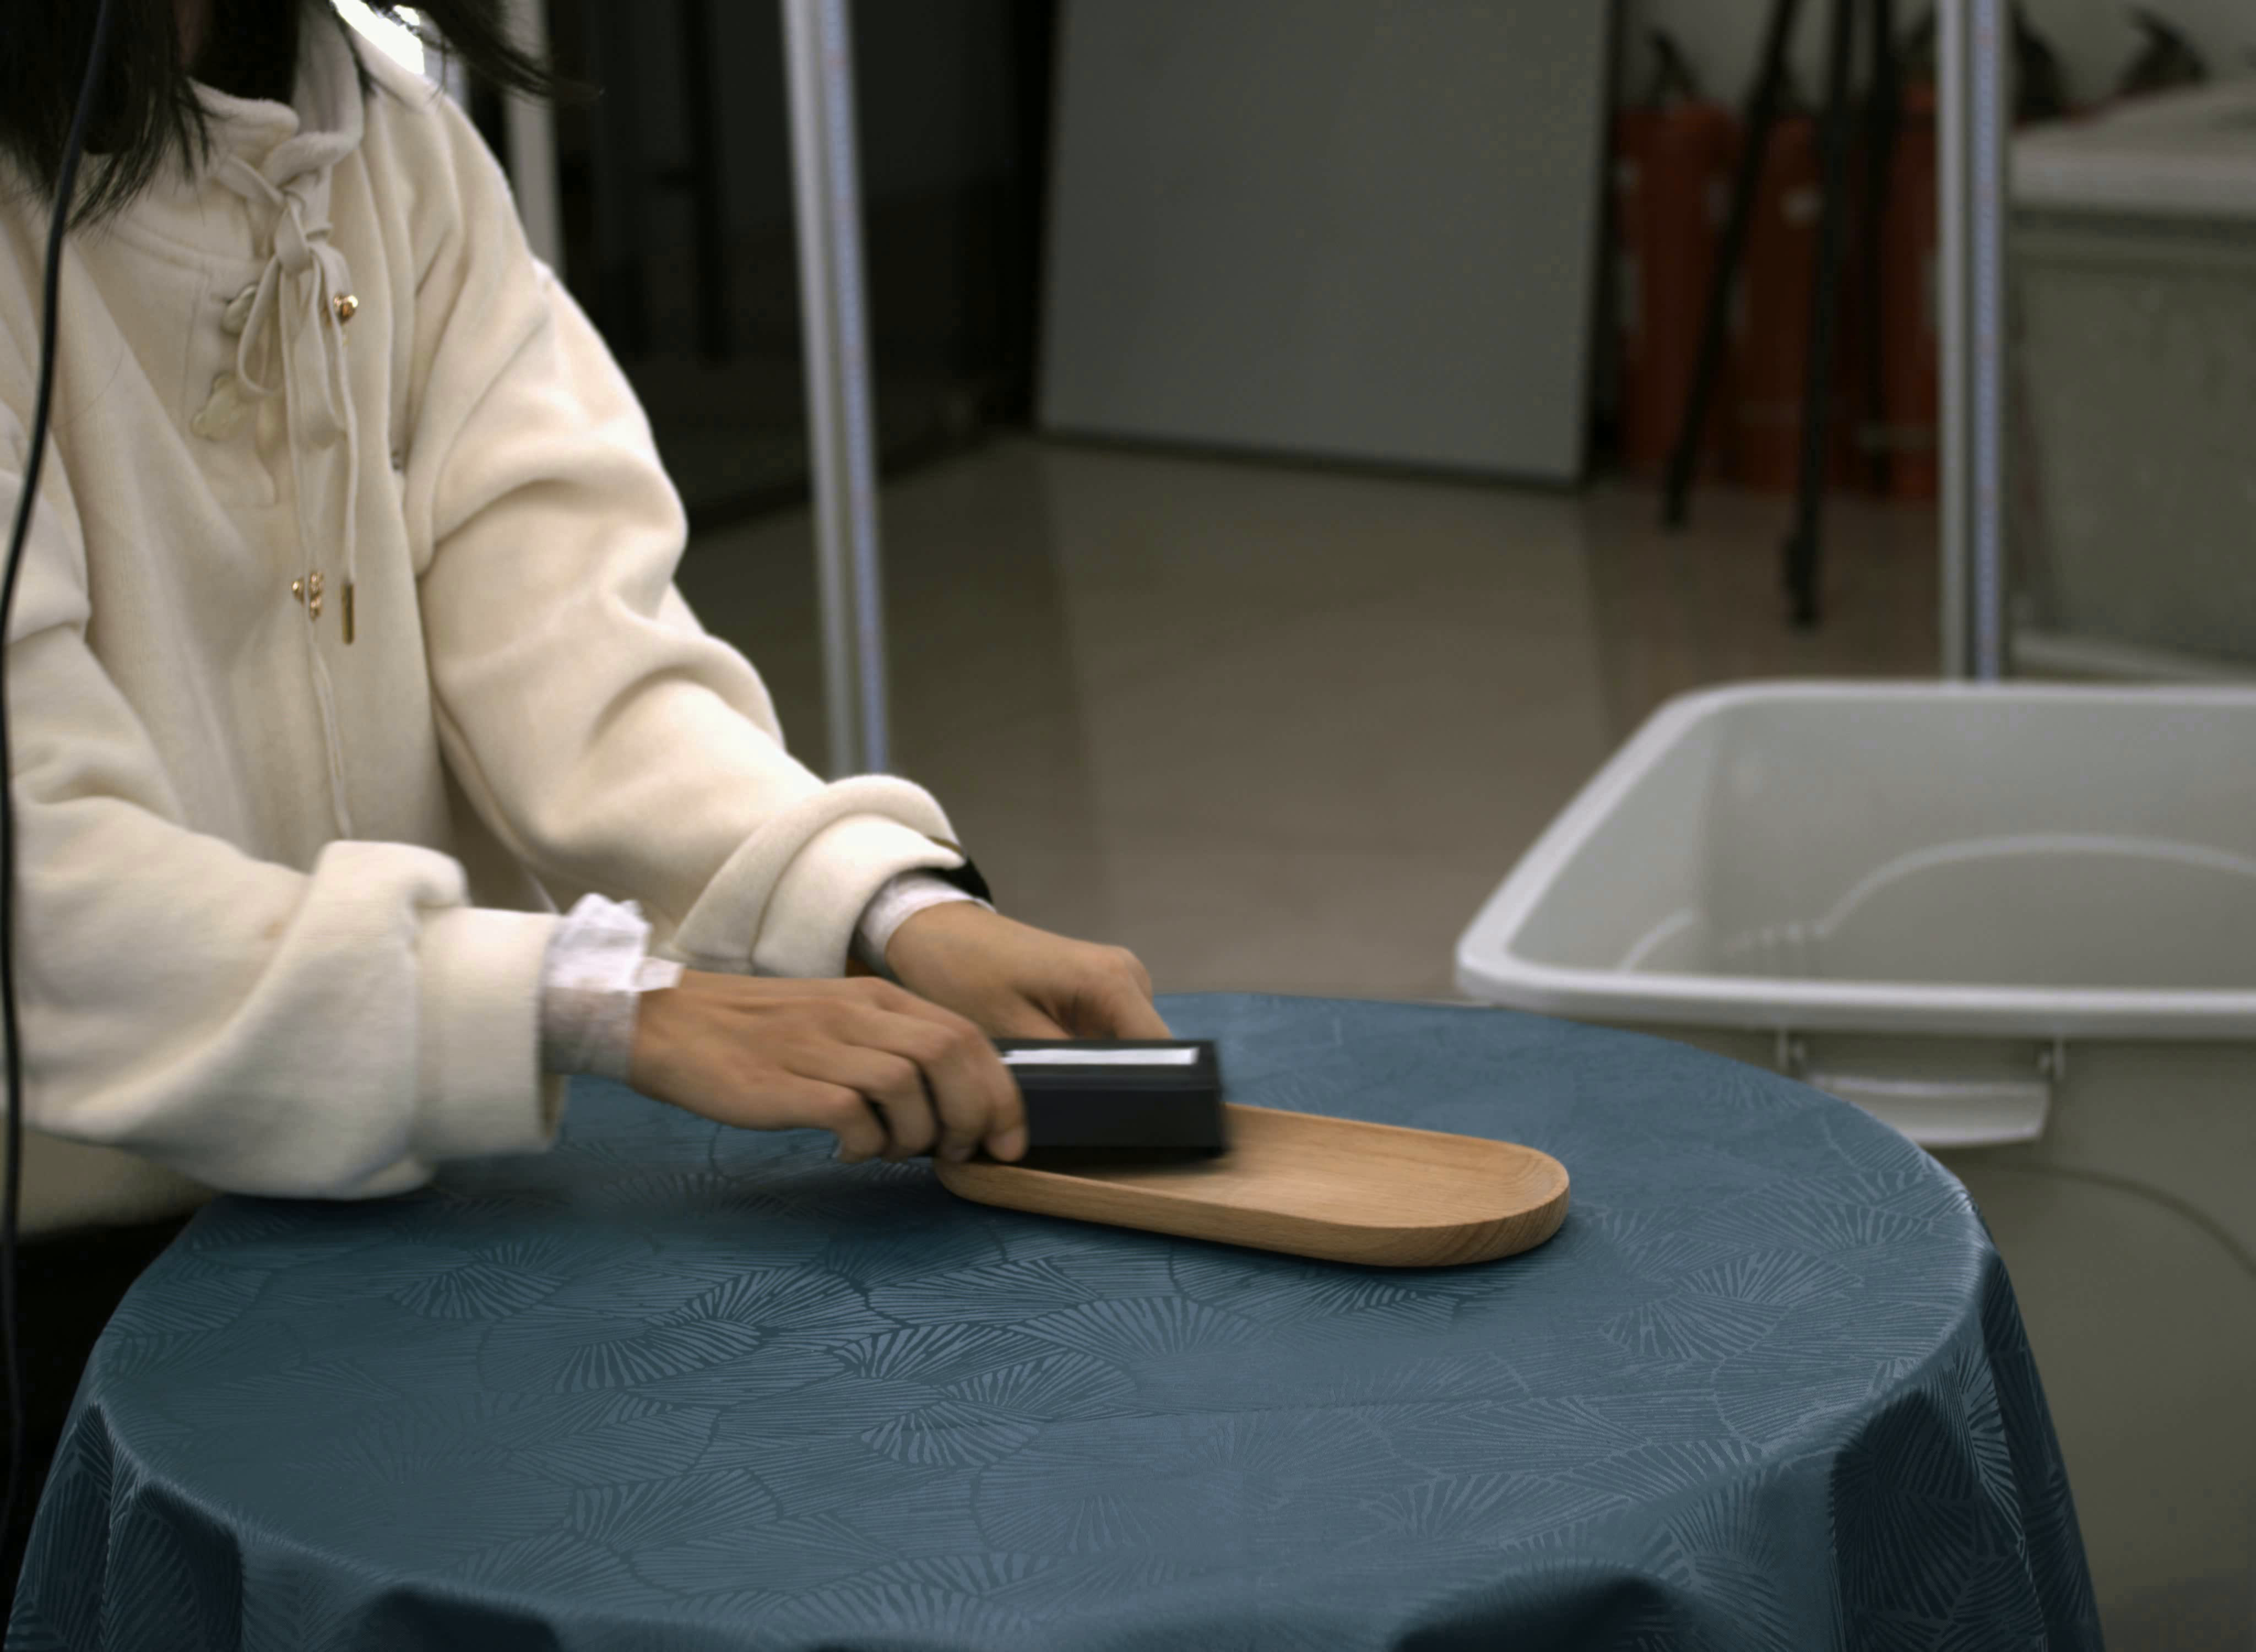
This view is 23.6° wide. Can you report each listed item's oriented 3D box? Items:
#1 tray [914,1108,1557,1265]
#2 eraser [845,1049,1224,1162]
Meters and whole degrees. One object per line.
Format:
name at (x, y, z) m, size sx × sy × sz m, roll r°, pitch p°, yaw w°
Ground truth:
tray at (0.033, 0.115, 1.750) m, size 0.232 × 0.020 × 0.100 m, roll 3°, pitch 13°, yaw 35°
eraser at (-0.031, 0.092, 1.779) m, size 0.124 × 0.031 × 0.053 m, roll 2°, pitch 6°, yaw -1°
